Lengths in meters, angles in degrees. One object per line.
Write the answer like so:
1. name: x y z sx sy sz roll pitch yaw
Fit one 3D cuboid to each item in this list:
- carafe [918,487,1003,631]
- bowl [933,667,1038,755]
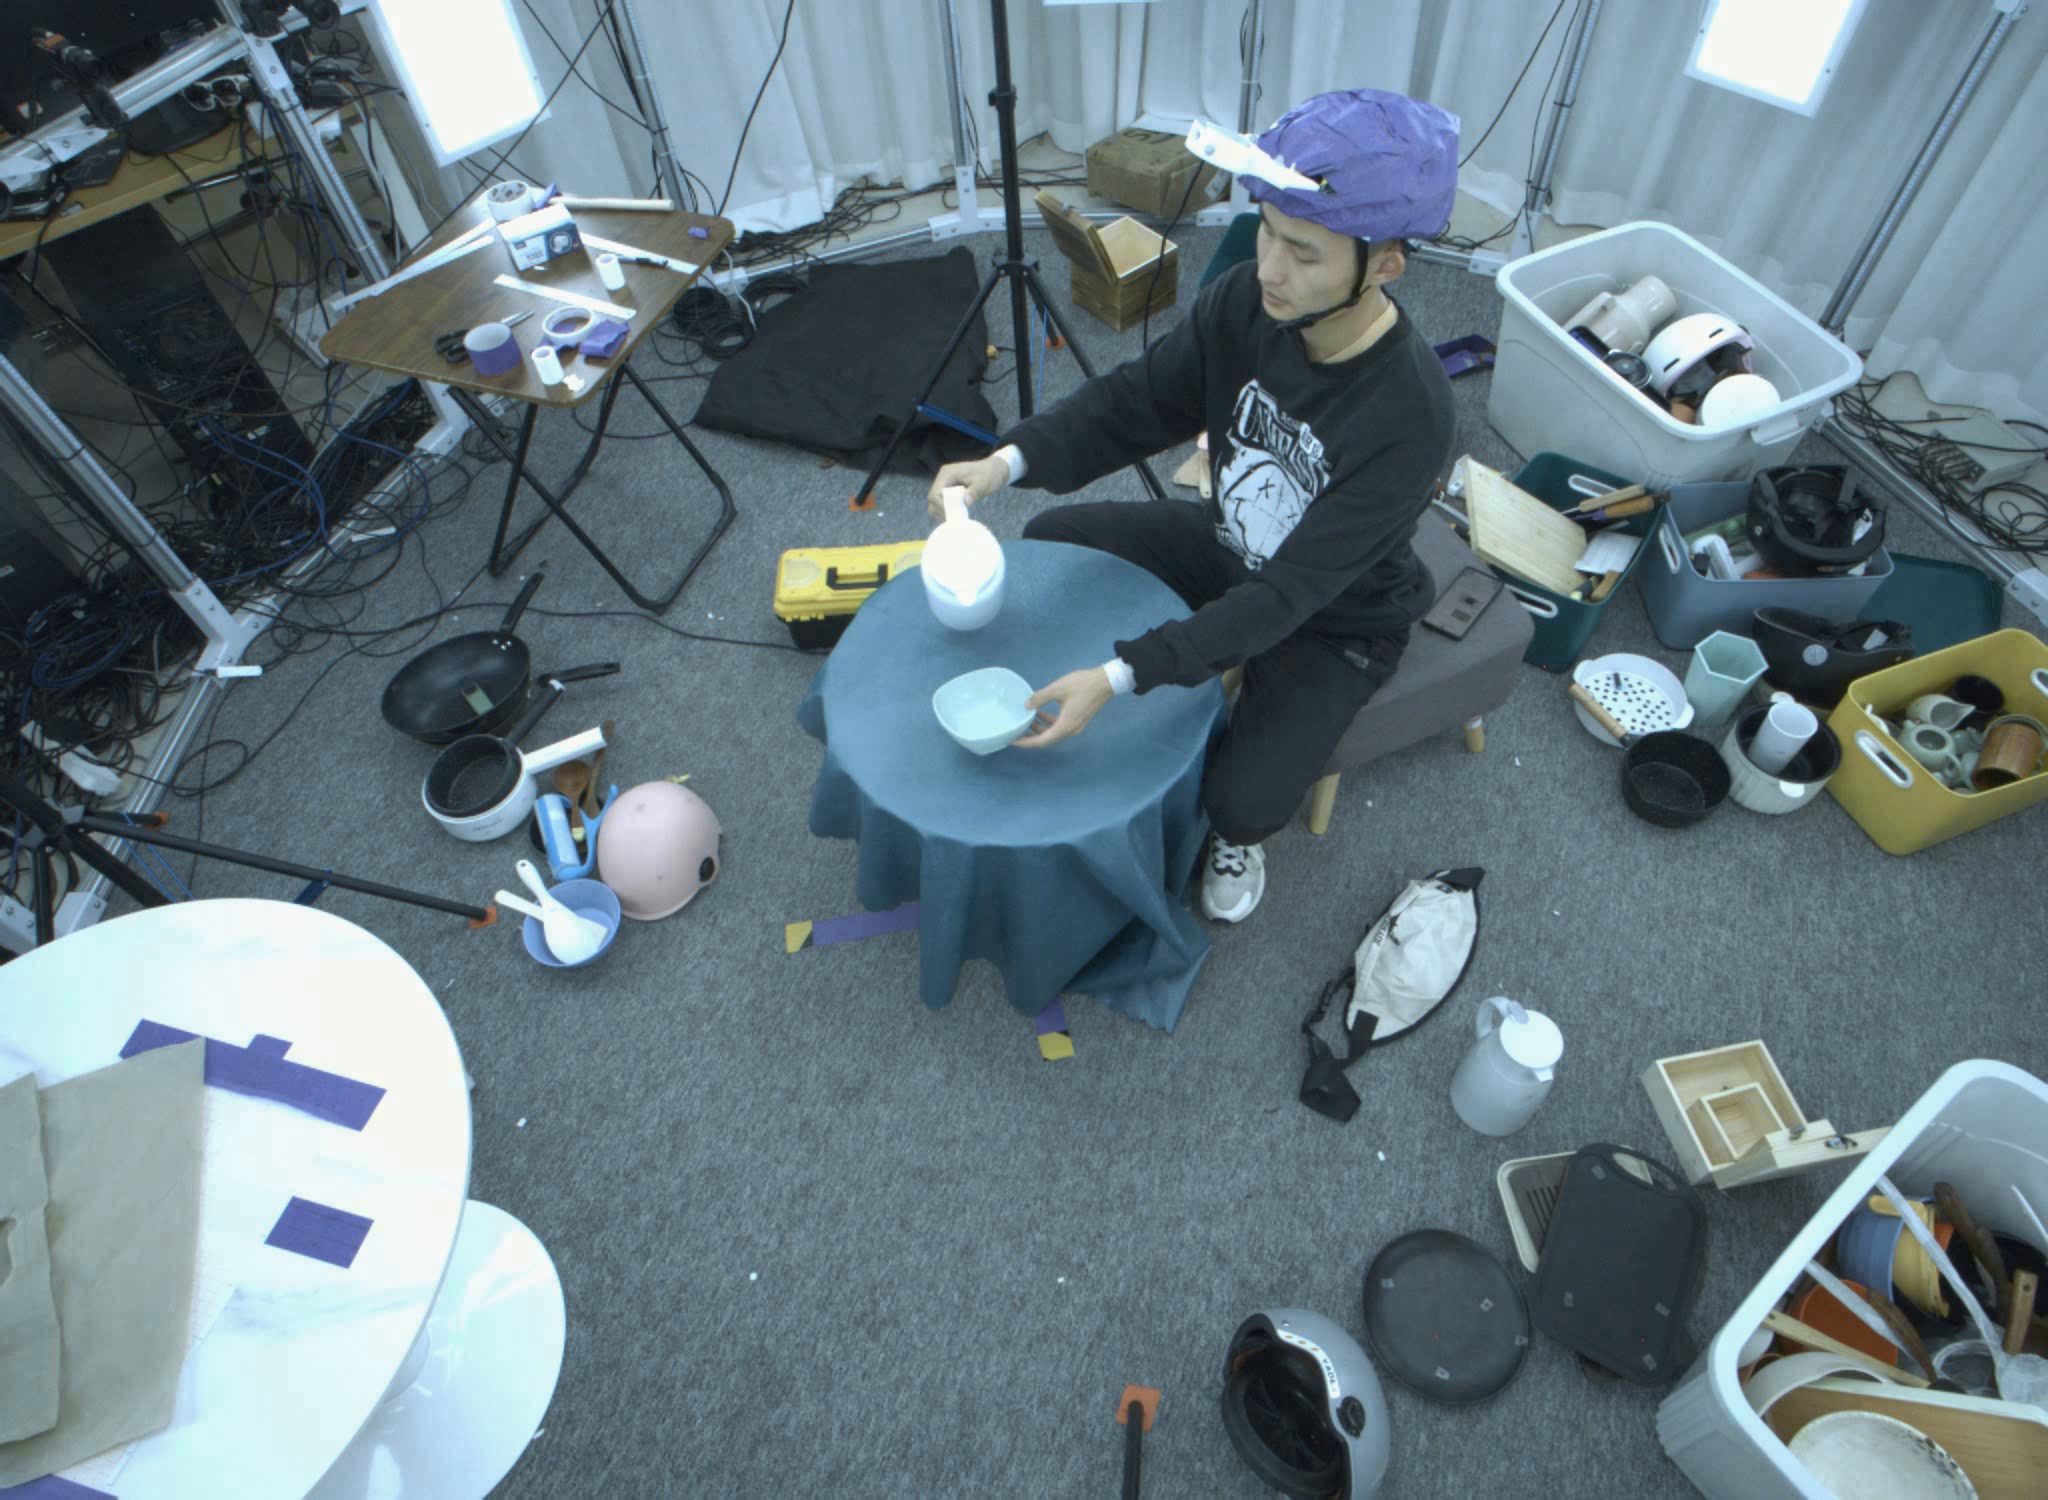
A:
1. carafe: -0.095 -0.267 1.754 0.124 0.269 0.172 -9 86 -1
2. bowl: -0.053 -0.047 1.737 0.151 0.059 0.150 -1 46 3
